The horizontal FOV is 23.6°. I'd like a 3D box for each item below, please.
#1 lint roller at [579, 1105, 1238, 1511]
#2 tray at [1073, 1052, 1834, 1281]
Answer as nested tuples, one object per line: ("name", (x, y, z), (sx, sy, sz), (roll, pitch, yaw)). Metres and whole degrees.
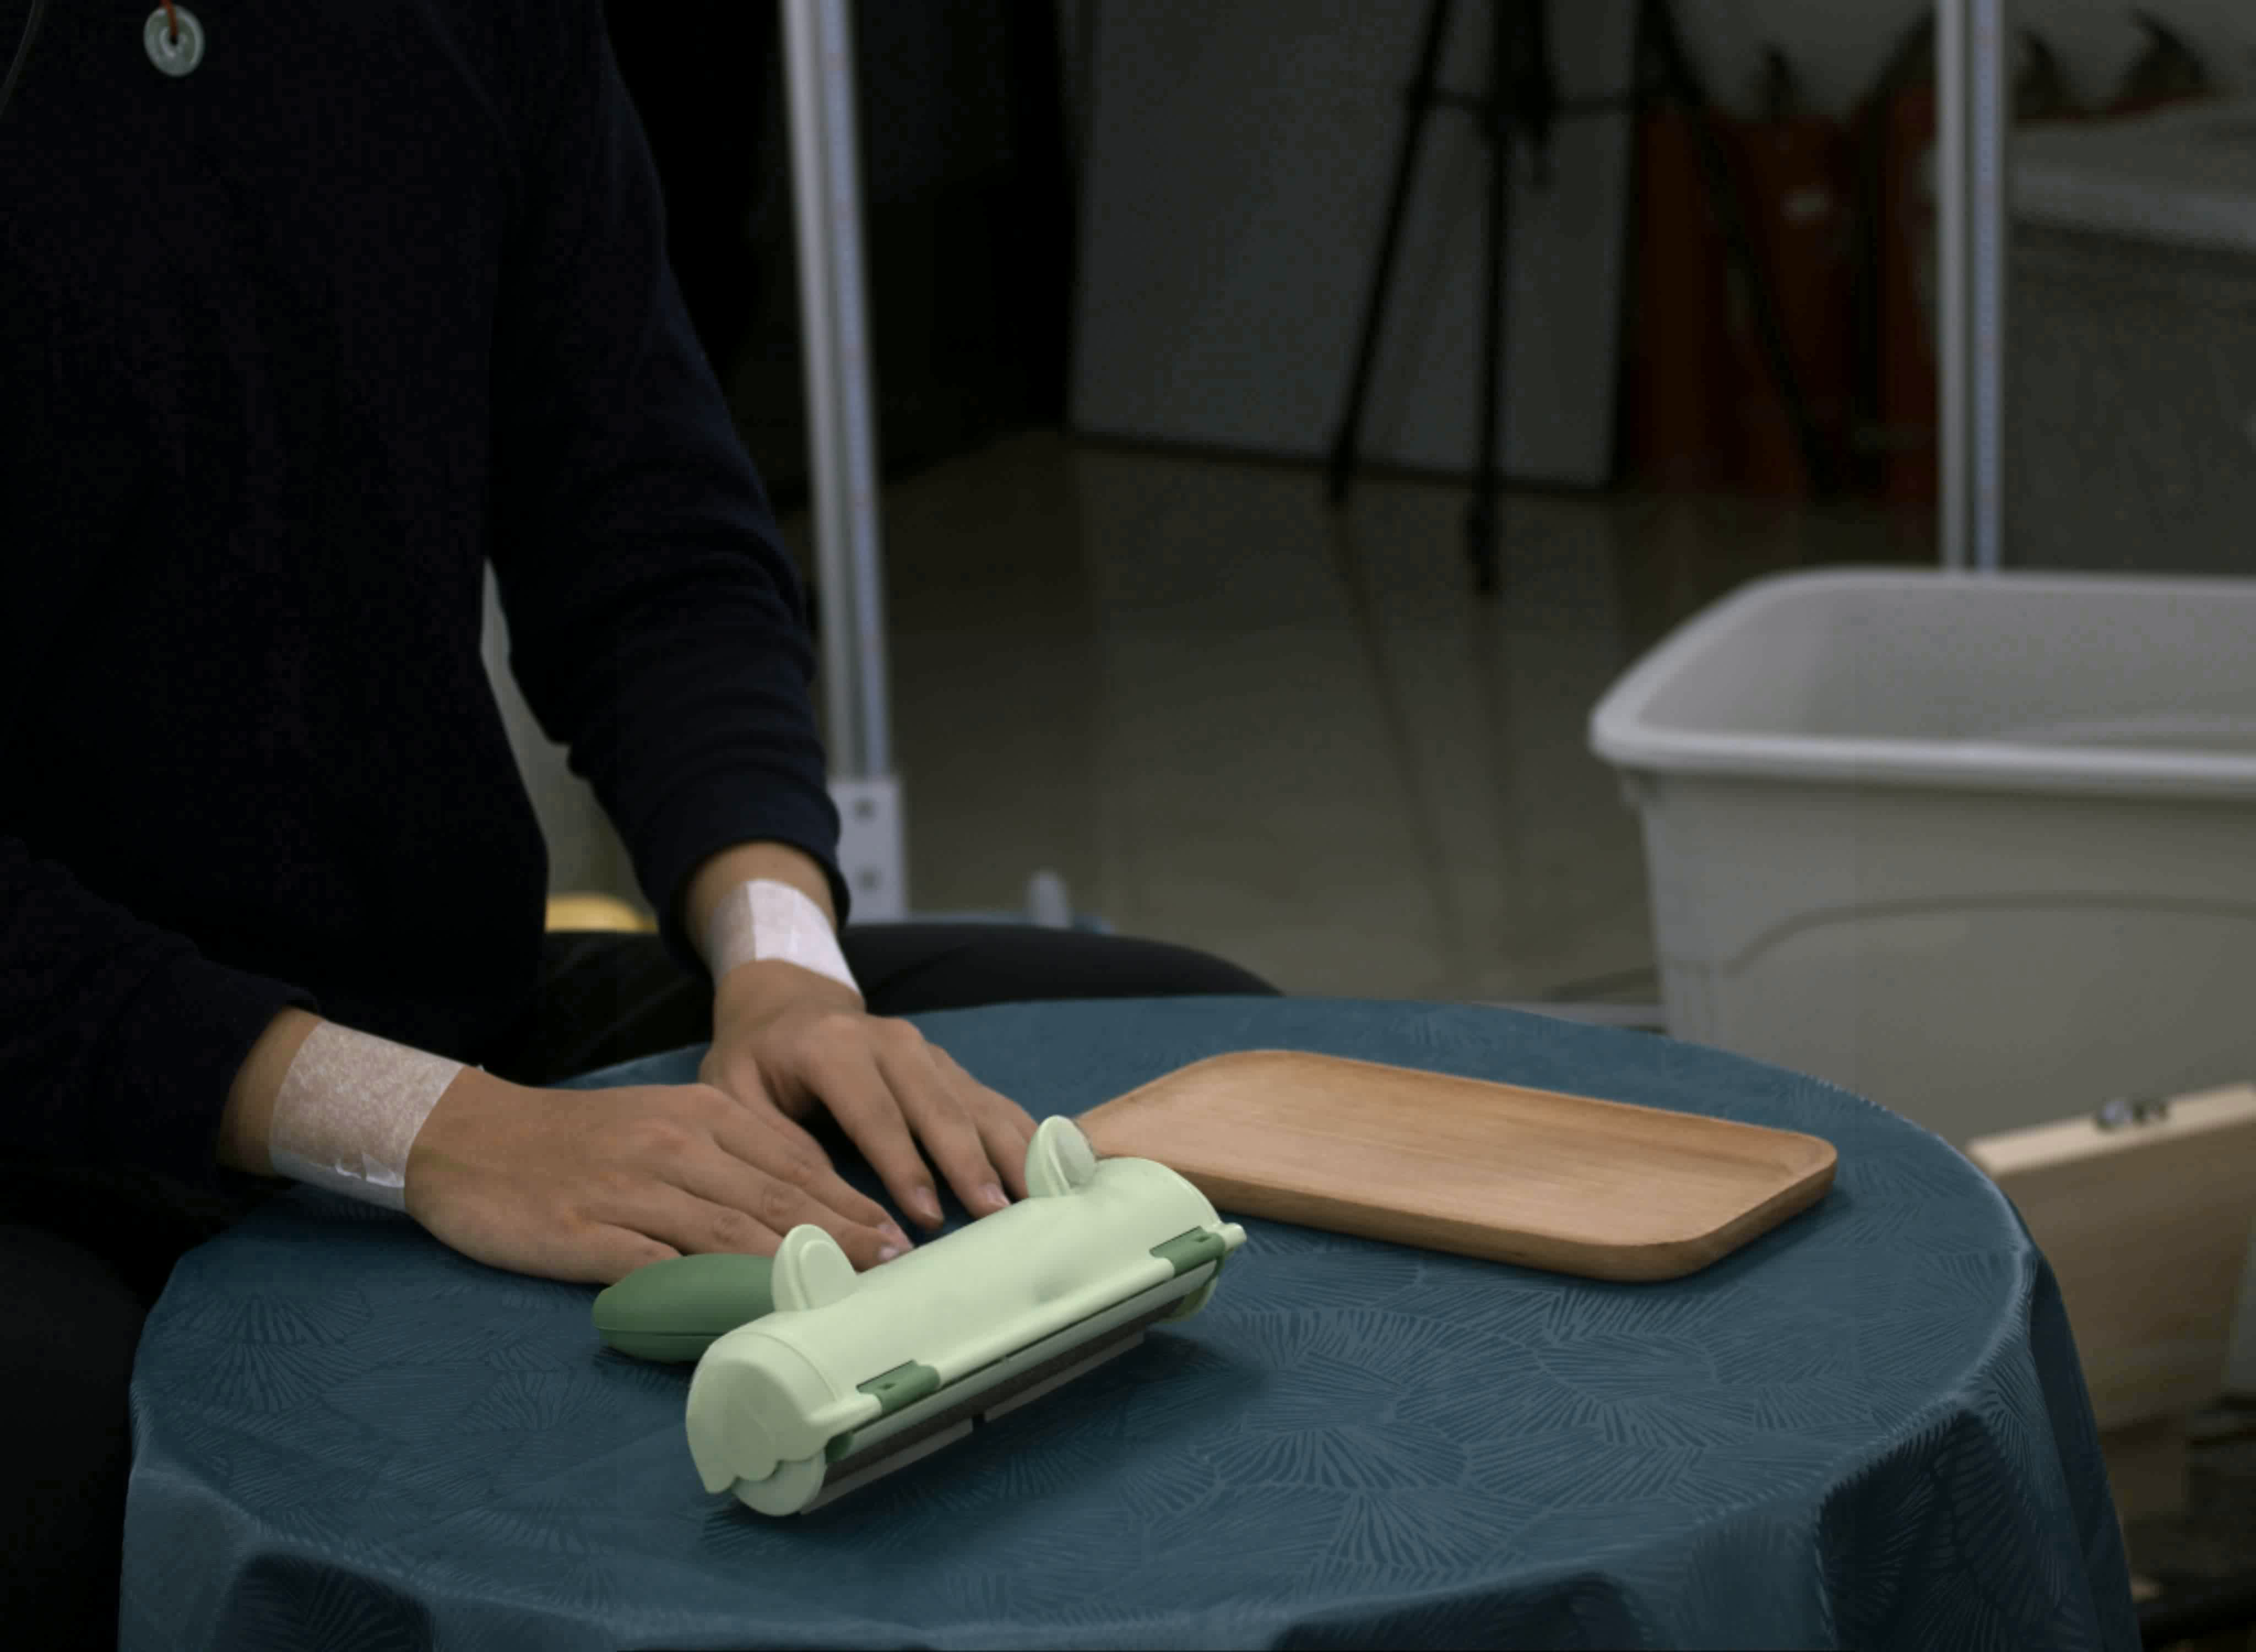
("lint roller", (-0.092, 0.127, 1.592), (0.184, 0.083, 0.195), (13, 21, 36))
("tray", (0.101, 0.109, 1.754), (0.252, 0.023, 0.128), (6, 15, 38))
